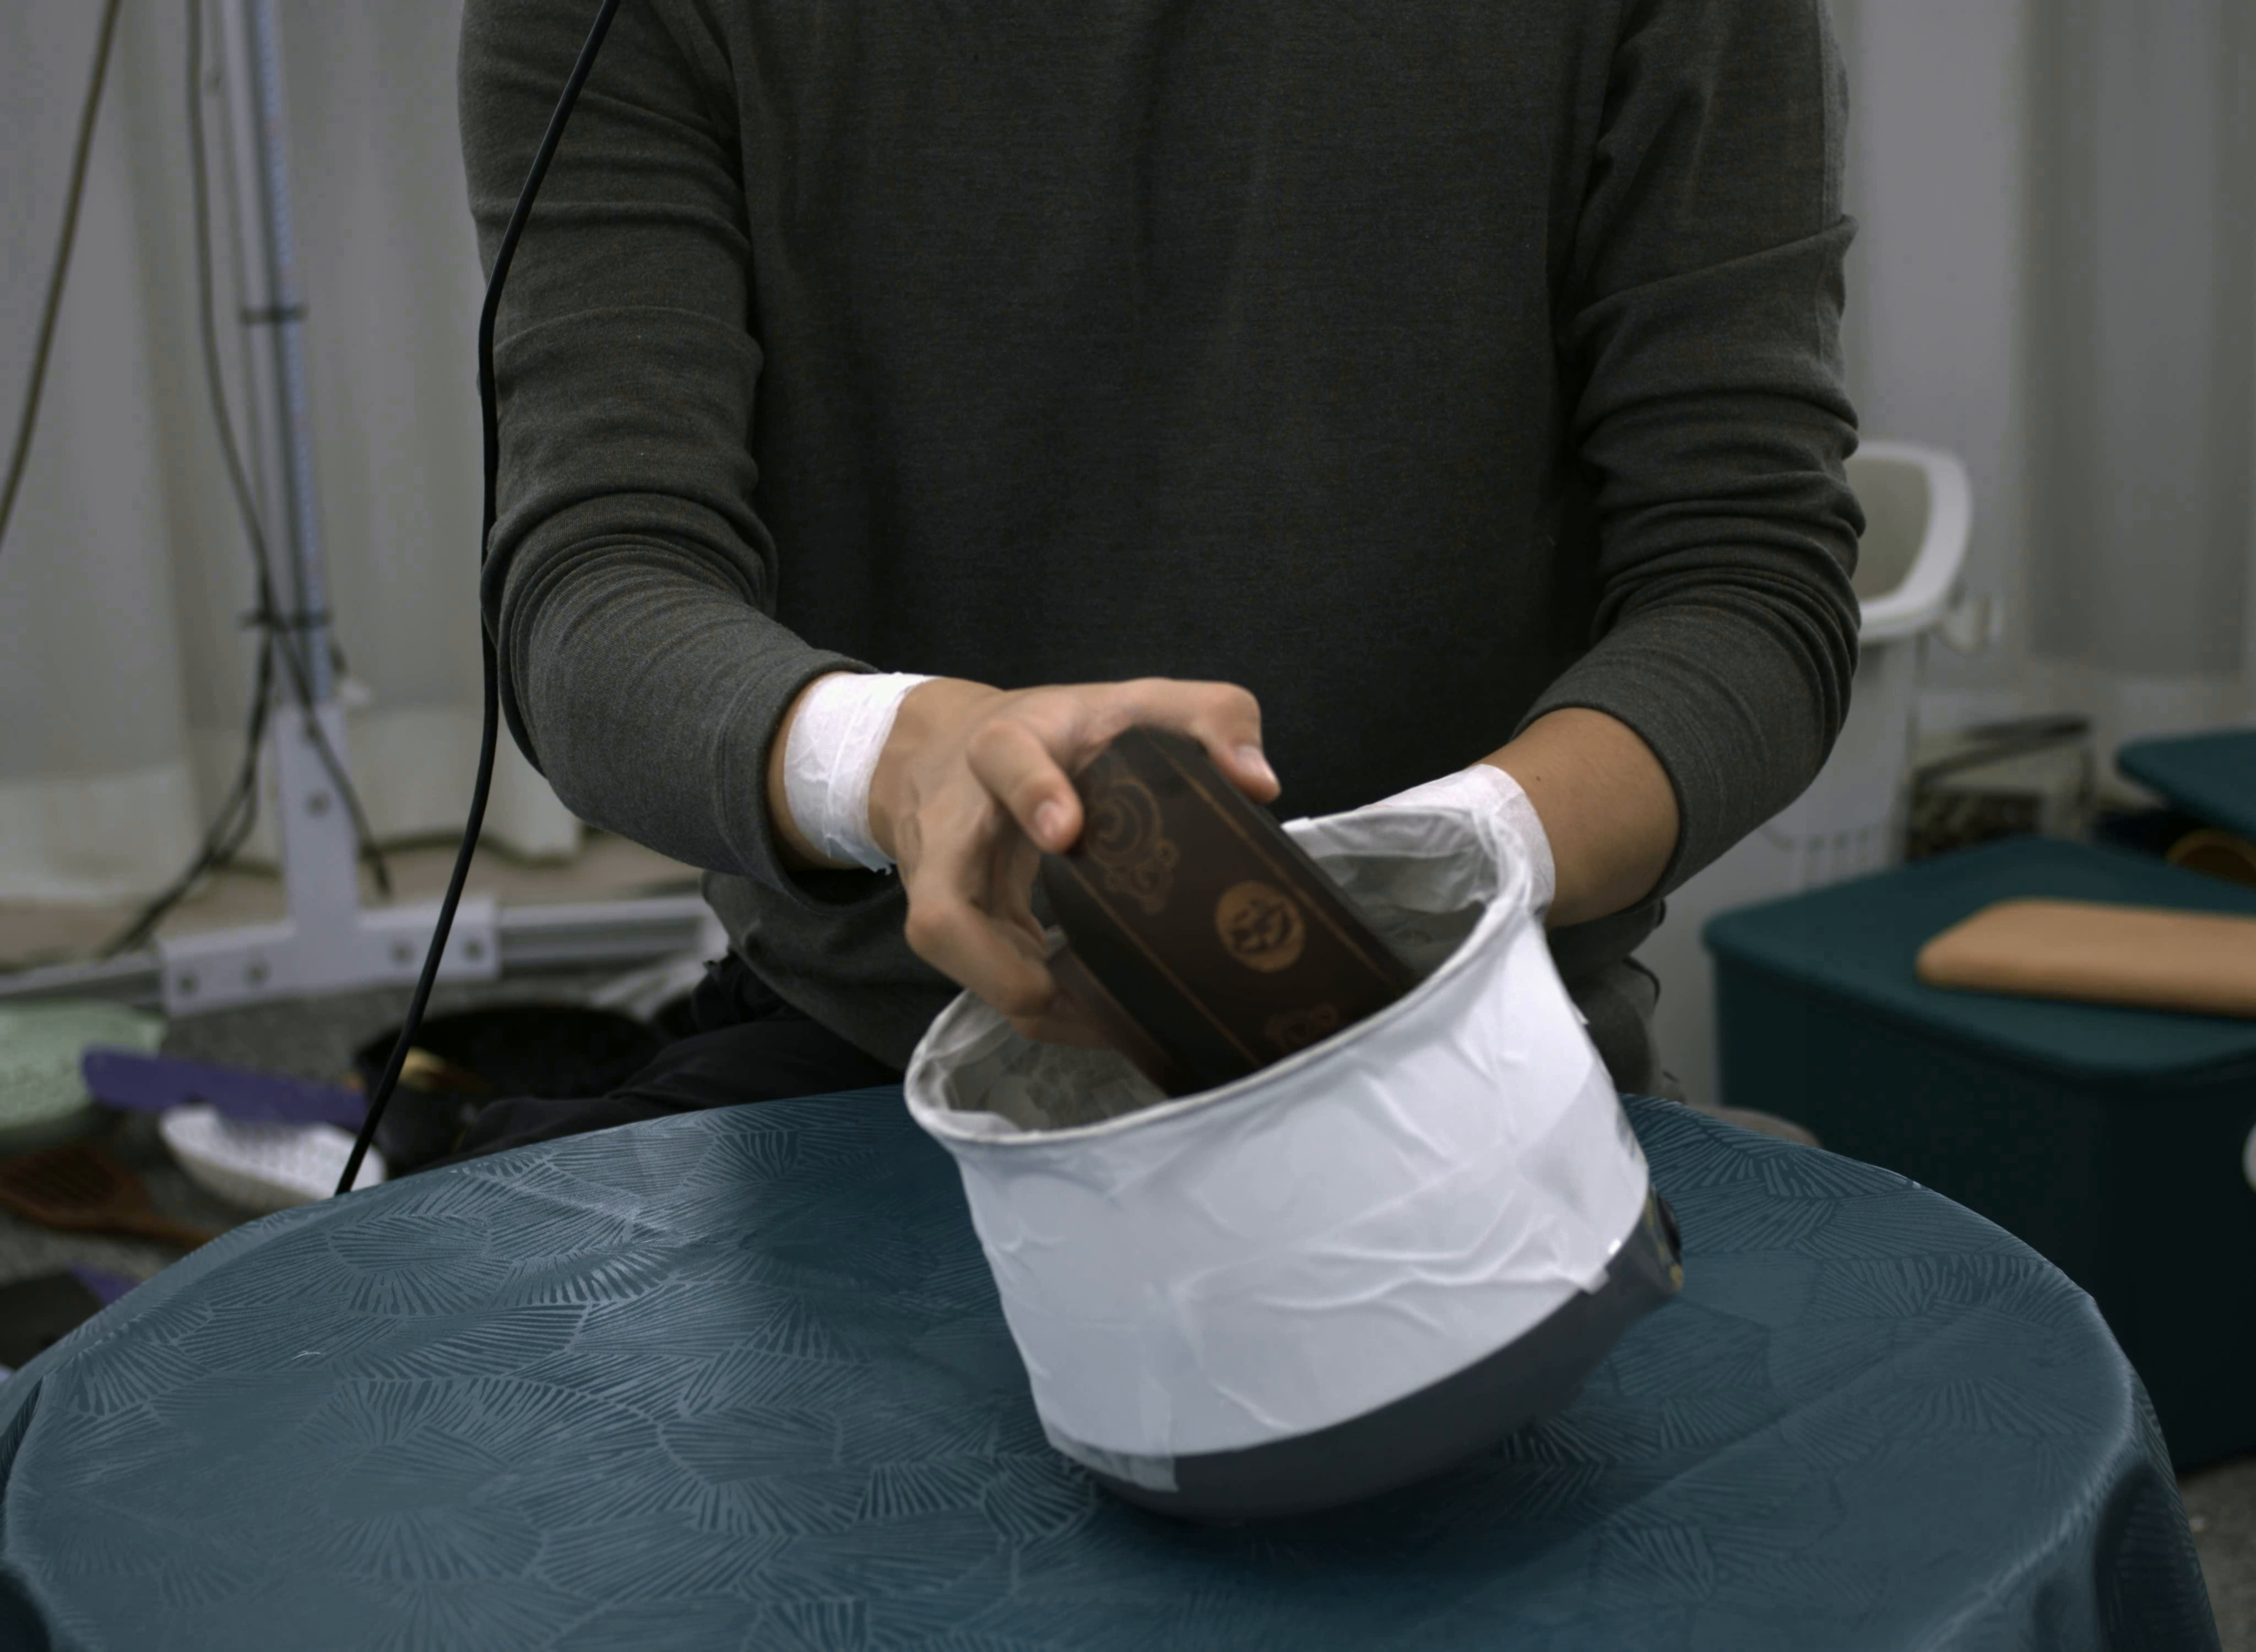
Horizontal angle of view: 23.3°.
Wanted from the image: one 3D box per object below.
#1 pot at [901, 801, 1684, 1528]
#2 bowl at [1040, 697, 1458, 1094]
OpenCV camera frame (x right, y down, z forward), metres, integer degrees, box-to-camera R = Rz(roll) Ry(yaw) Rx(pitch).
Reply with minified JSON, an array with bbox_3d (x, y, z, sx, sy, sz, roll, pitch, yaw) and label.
[{"bbox_3d":[0.046,0.082,1.486,0.178,0.136,0.236,-20,18,8],"label":"pot"},{"bbox_3d":[0.023,0.031,1.418,0.070,0.117,0.119,-45,19,0],"label":"bowl"}]
